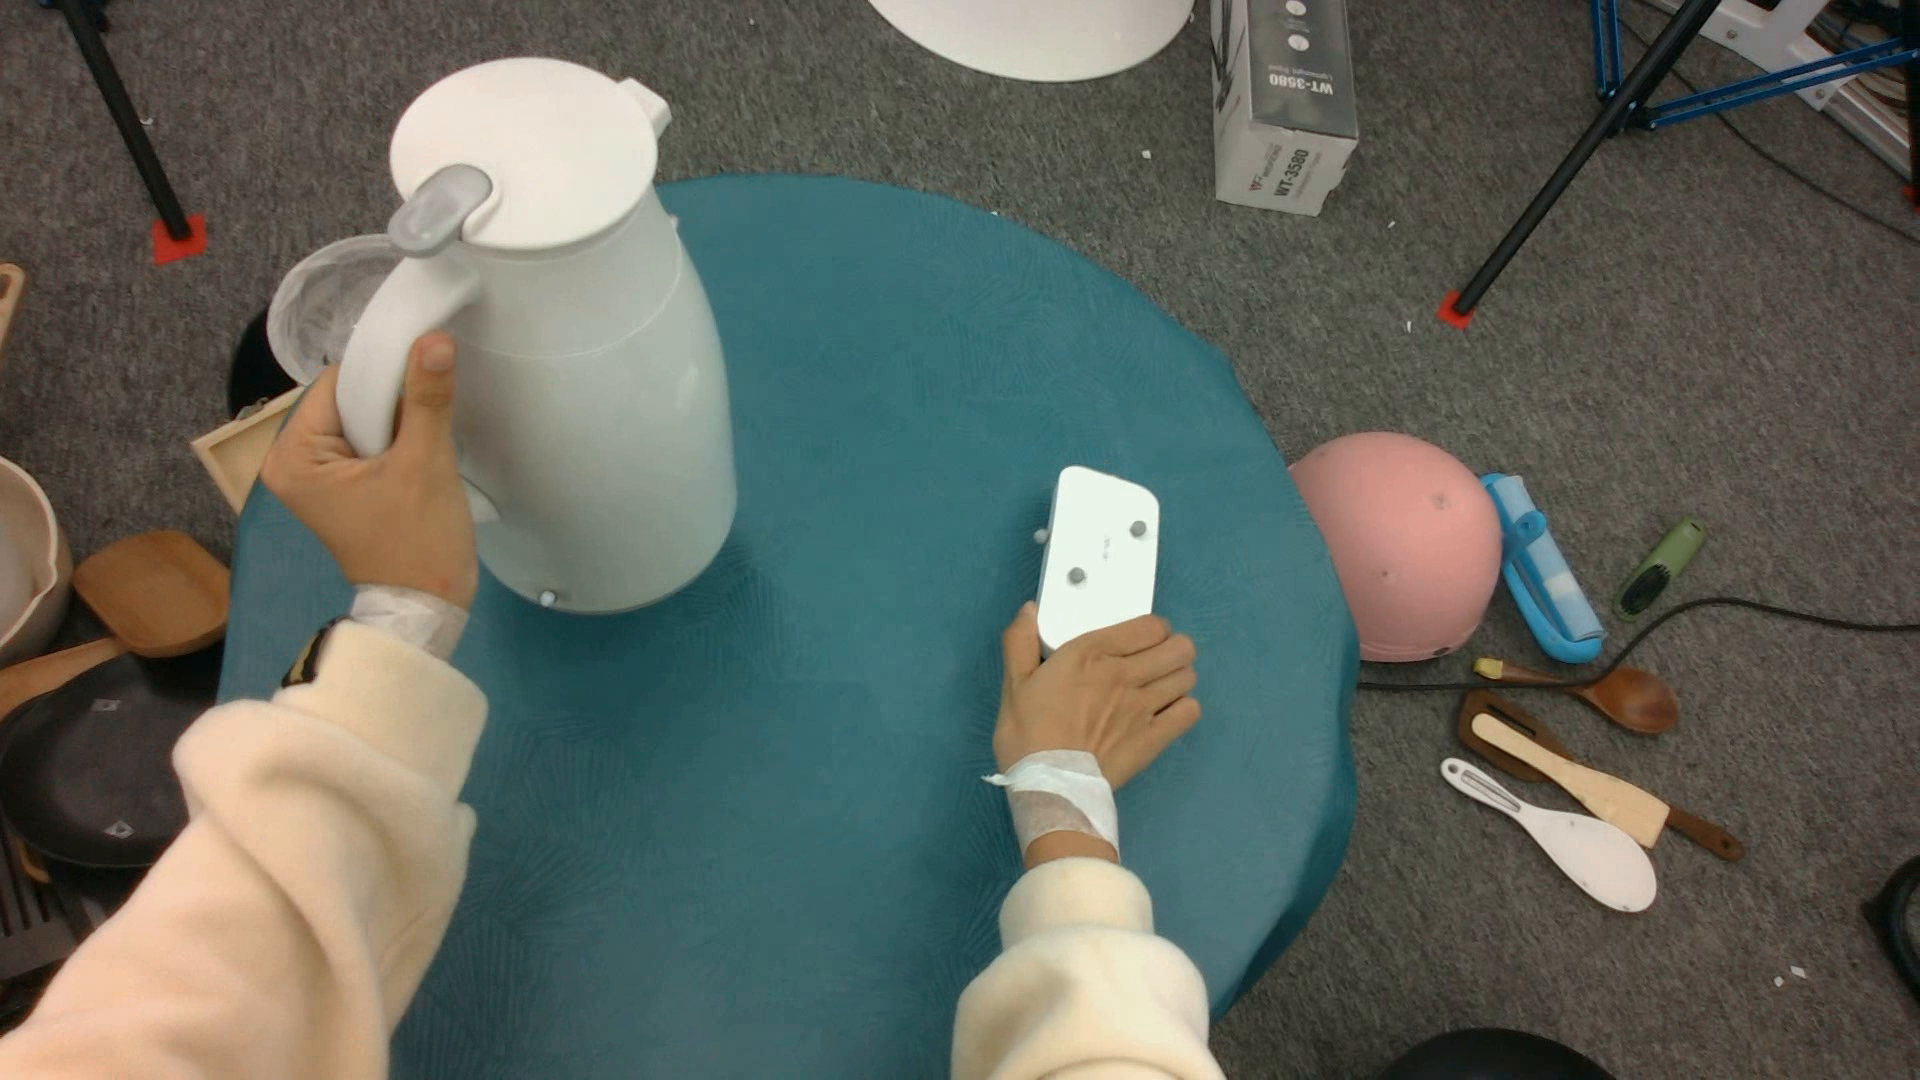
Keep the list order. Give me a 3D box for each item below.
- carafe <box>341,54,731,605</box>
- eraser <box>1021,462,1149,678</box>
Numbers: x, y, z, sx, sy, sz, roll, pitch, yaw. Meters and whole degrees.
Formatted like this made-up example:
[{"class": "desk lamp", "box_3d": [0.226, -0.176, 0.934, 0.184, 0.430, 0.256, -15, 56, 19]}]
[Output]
[{"class": "carafe", "box_3d": [-0.179, -0.072, 0.586, 0.132, 0.247, 0.168, 34, 62, 11]}, {"class": "eraser", "box_3d": [0.068, 0.013, 0.756, 0.063, 0.034, 0.132, 16, 50, -5]}]
